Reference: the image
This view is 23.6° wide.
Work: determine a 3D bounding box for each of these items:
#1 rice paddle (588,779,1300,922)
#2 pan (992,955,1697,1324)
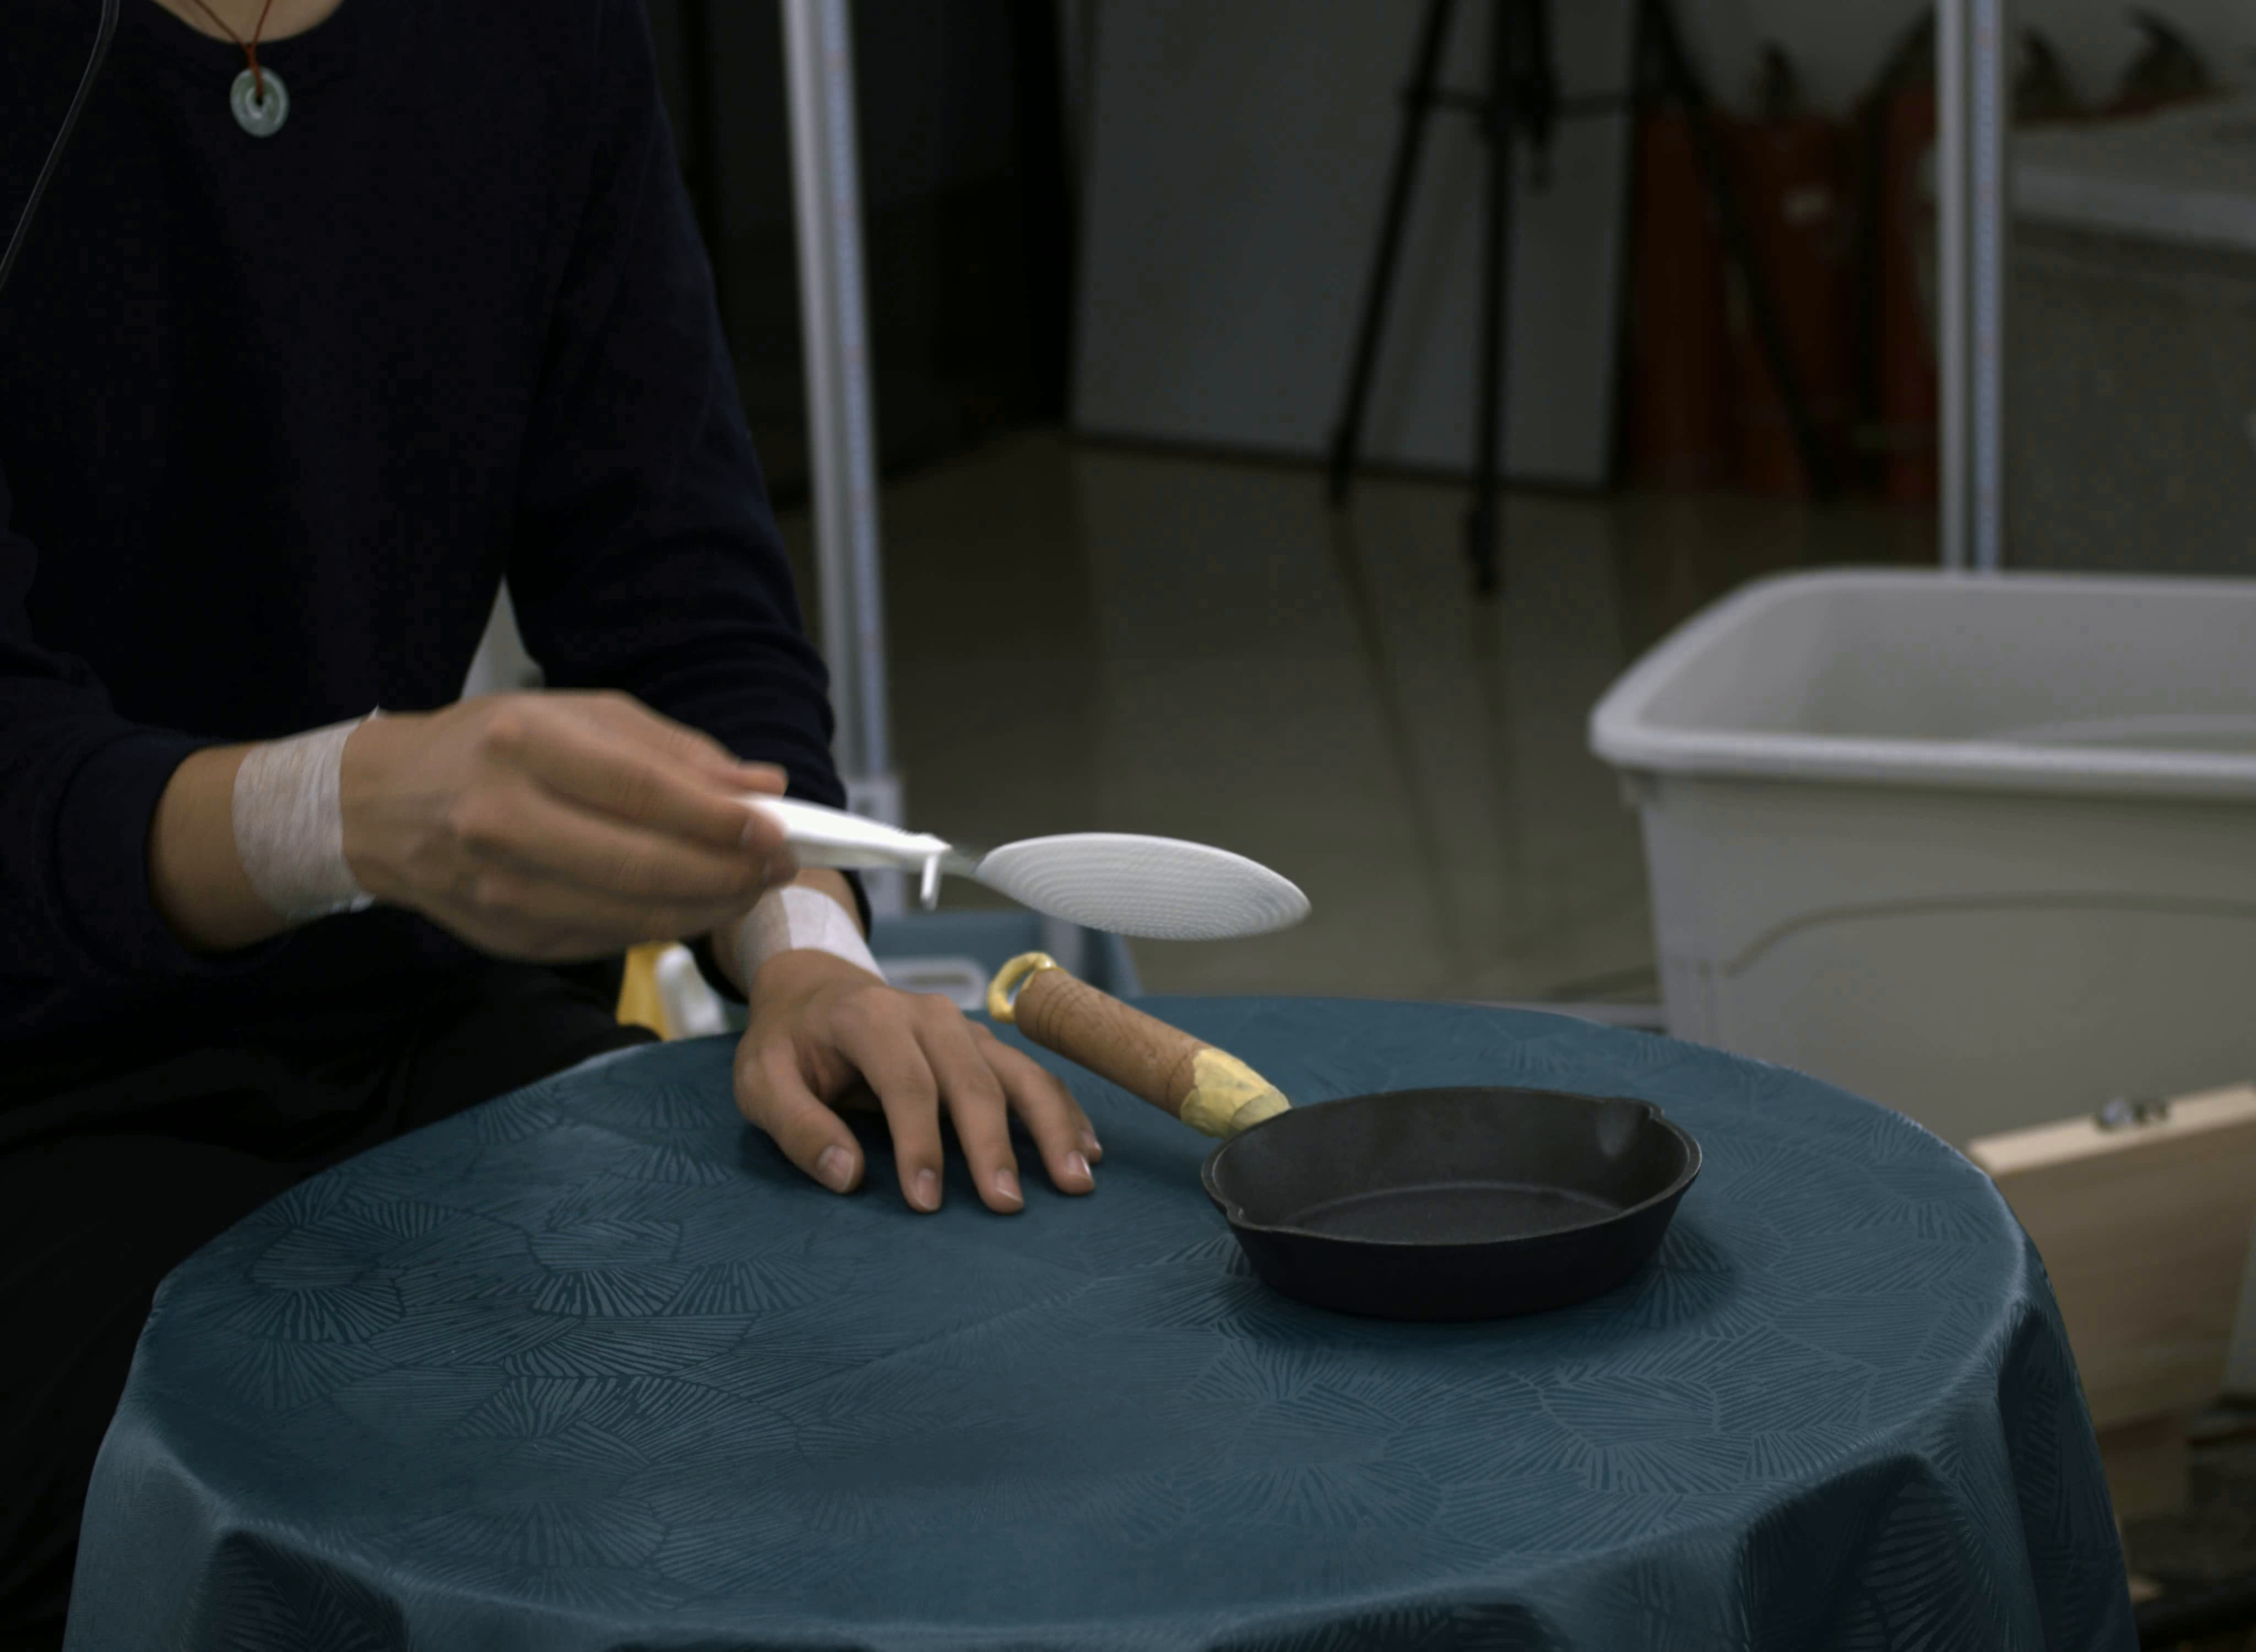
[{"bbox_3d":[-0.051,0.008,1.535,0.203,0.030,0.068,4,-17,9],"label":"rice paddle"},{"bbox_3d":[0.053,0.097,1.747,0.165,0.050,0.328,-13,18,-32],"label":"pan"}]
